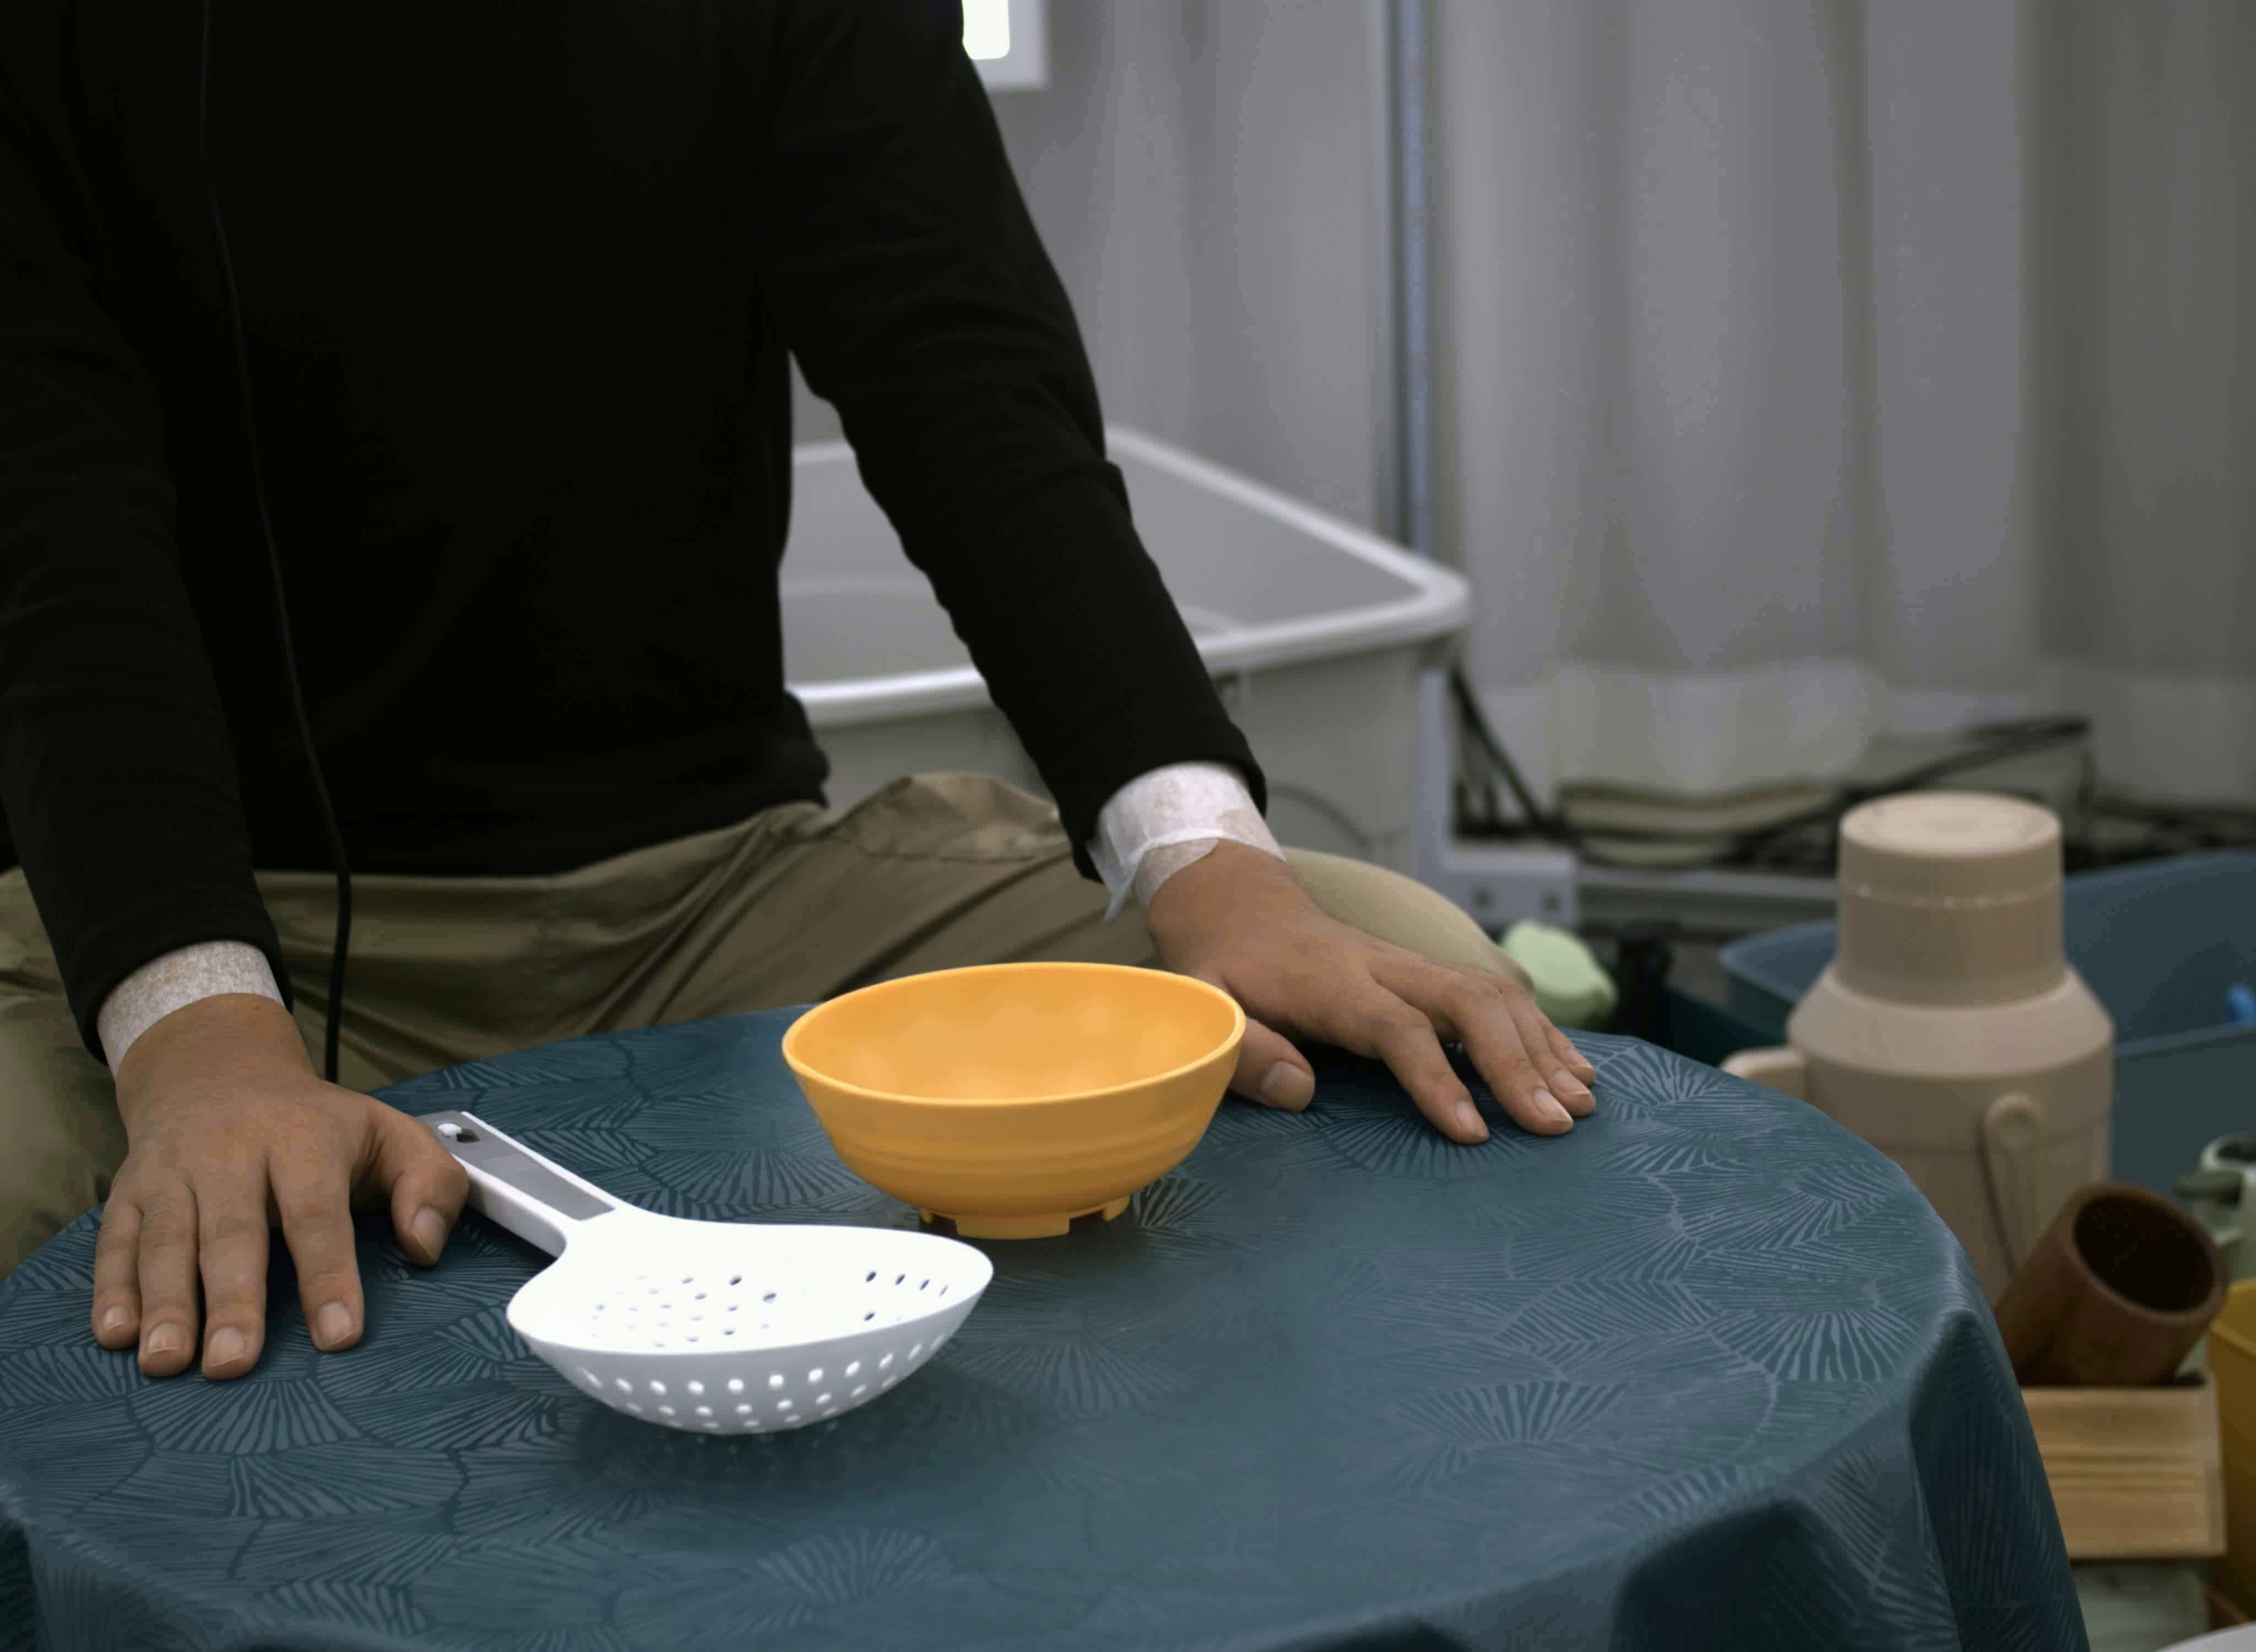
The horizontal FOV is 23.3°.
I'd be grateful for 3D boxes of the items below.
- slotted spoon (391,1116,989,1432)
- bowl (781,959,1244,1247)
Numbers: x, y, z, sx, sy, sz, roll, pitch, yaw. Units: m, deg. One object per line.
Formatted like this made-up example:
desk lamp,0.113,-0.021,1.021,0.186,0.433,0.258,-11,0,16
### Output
slotted spoon,-0.153,0.123,1.623,0.135,0.045,0.352,-9,15,-25
bowl,-0.035,0.092,1.701,0.145,0.060,0.146,-1,16,0
